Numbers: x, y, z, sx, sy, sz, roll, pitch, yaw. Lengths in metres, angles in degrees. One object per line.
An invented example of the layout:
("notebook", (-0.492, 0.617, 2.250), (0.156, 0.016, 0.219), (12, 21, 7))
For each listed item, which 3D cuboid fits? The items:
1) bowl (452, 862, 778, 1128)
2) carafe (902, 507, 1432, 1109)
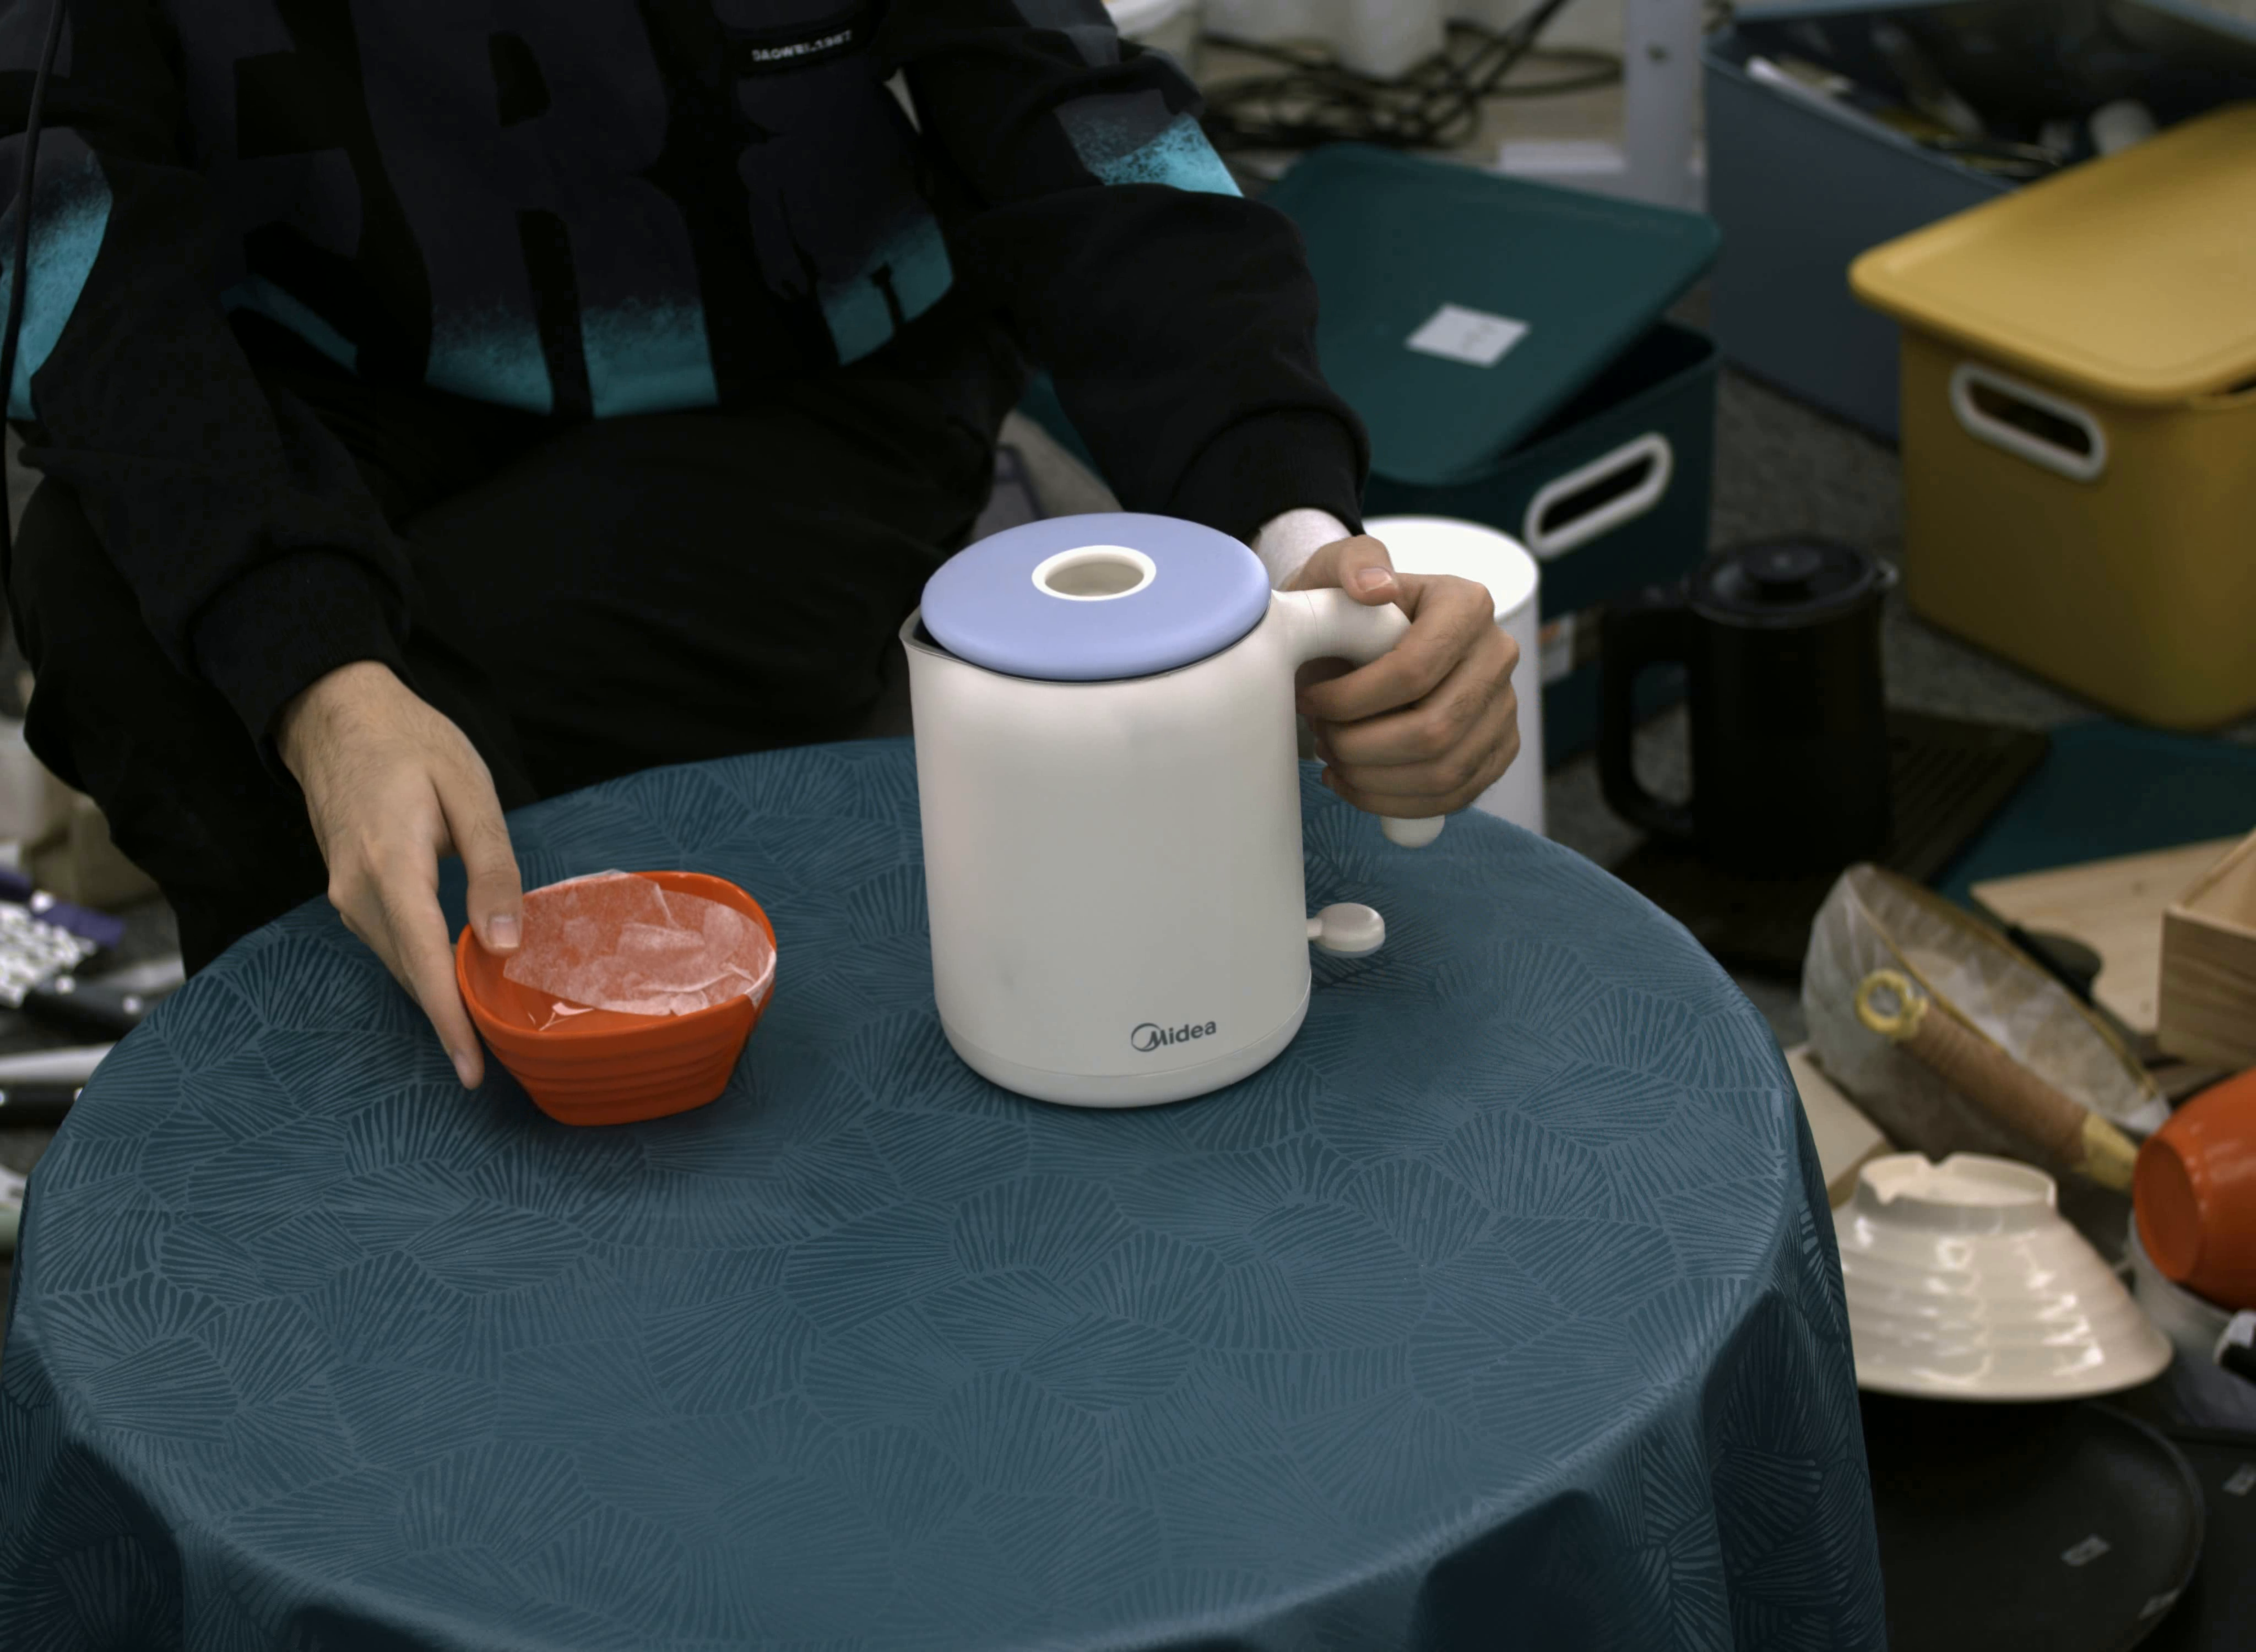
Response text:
("bowl", (-0.174, 0.063, 1.932), (0.118, 0.051, 0.121), (-3, 30, 2))
("carafe", (0.016, -0.010, 1.931), (0.191, 0.180, 0.133), (-9, 28, -17))
